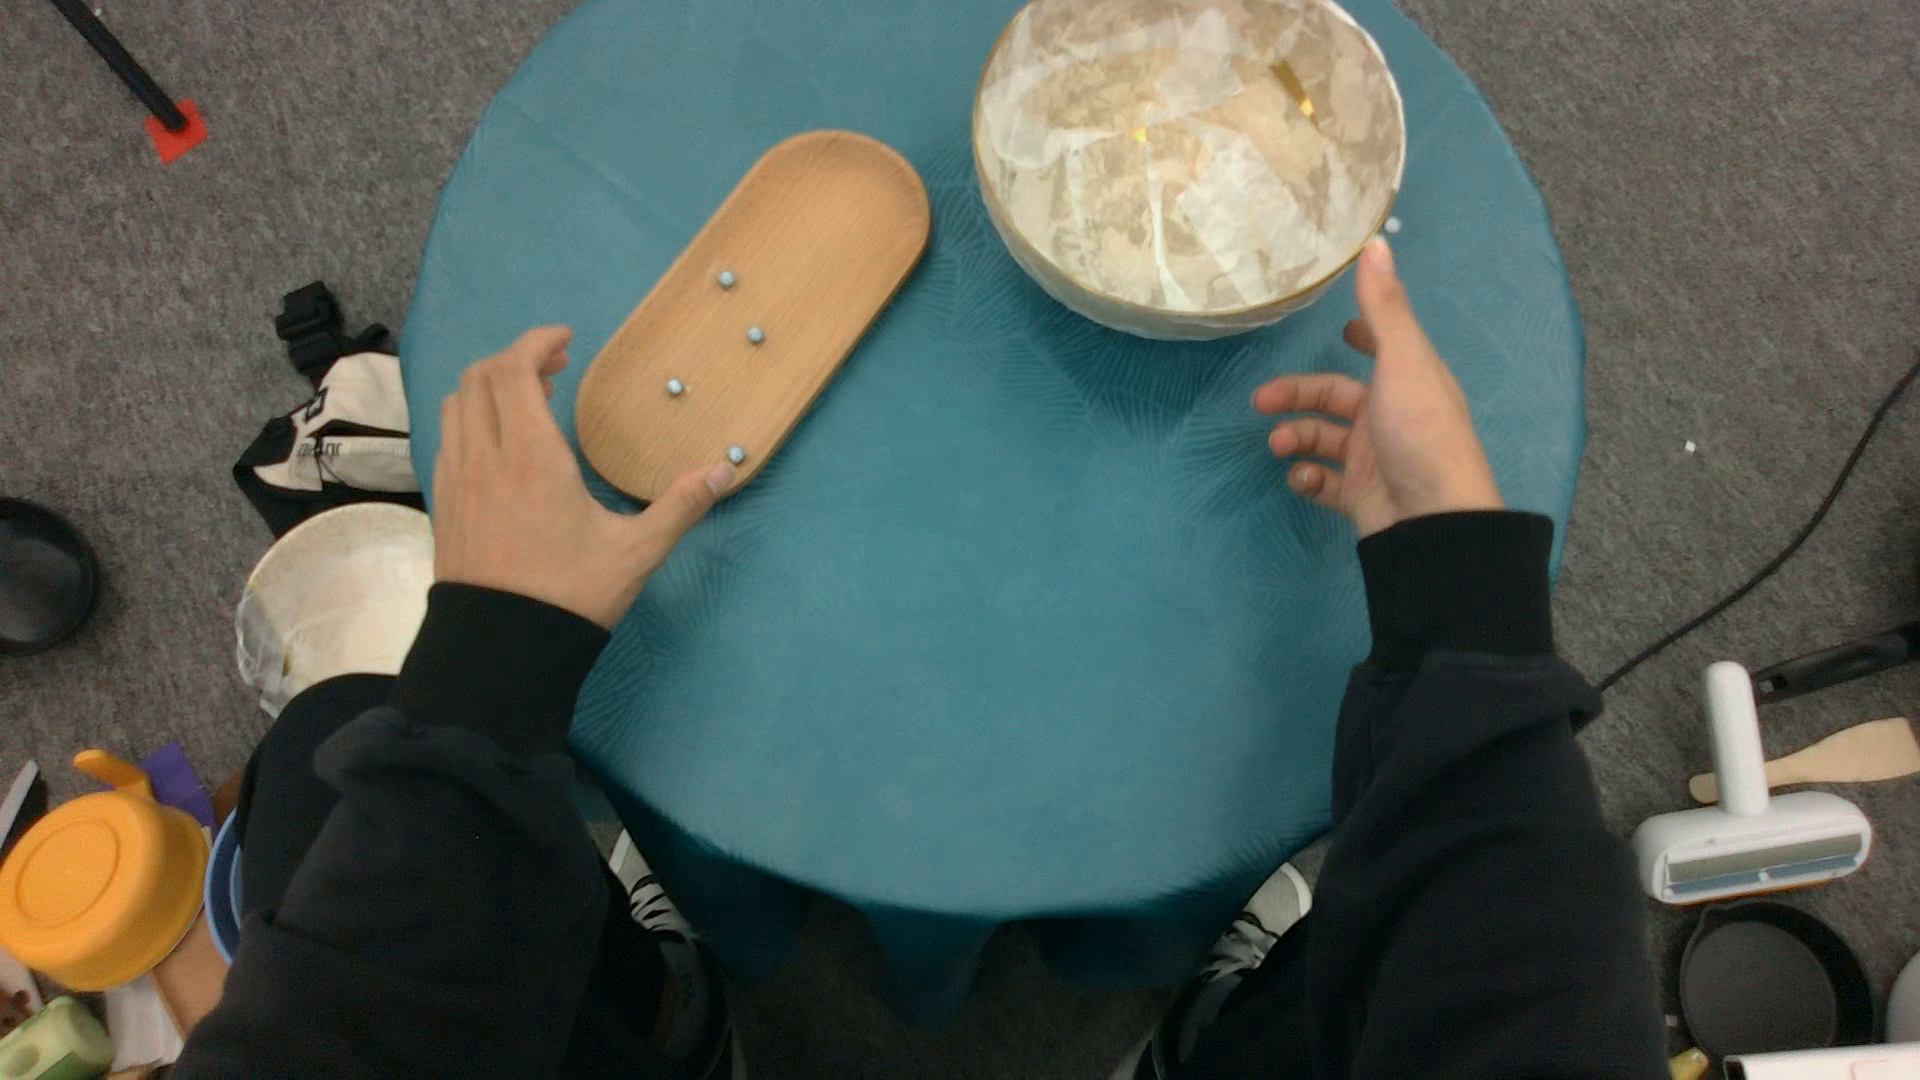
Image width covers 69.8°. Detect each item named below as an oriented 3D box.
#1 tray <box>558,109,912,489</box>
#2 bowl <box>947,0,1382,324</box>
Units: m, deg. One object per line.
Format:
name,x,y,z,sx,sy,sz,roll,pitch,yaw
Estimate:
tray,-0.111,-0.125,0.697,0.101,0.020,0.232,32,72,5
bowl,0.093,-0.189,0.685,0.215,0.094,0.215,1,73,-3
